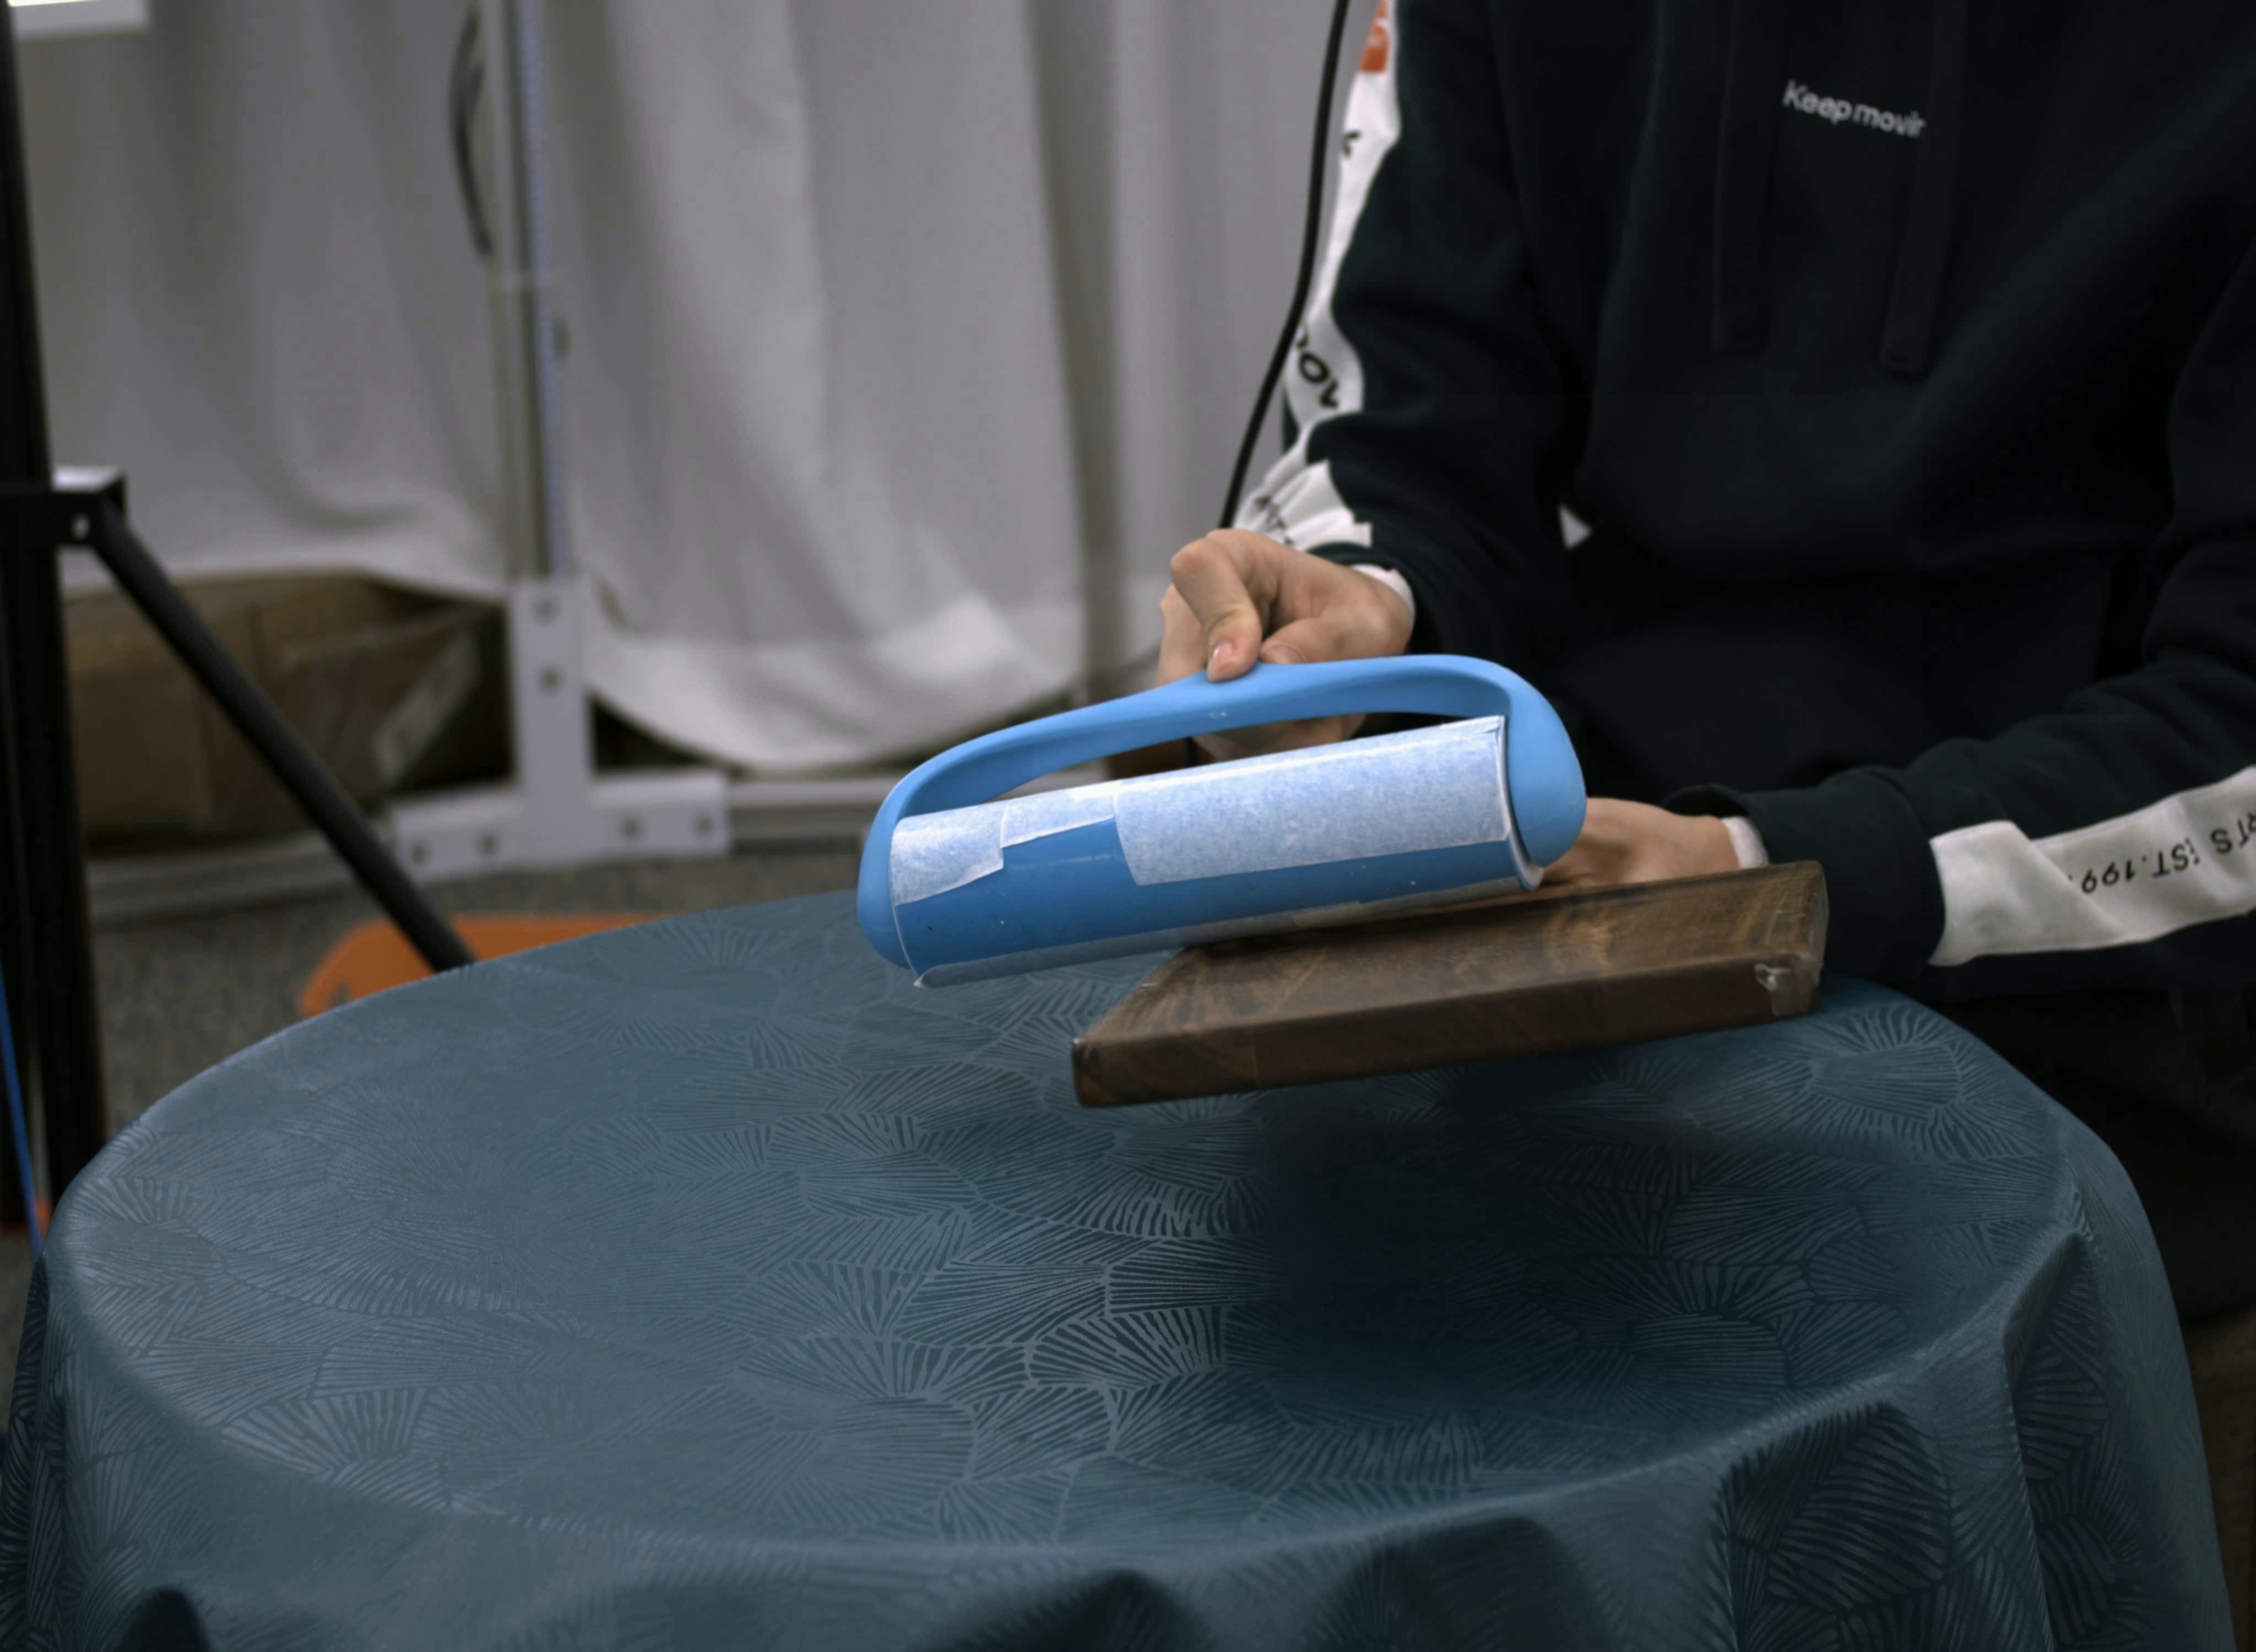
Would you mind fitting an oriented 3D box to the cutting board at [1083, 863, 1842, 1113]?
[{"bbox_3d":[0.104,0.039,1.530,0.201,0.023,0.350,-7,4,8],"label":"cutting board"}]

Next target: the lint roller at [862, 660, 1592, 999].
[{"bbox_3d":[0.035,-0.017,1.654,0.230,0.067,0.180,-12,23,15],"label":"lint roller"}]
